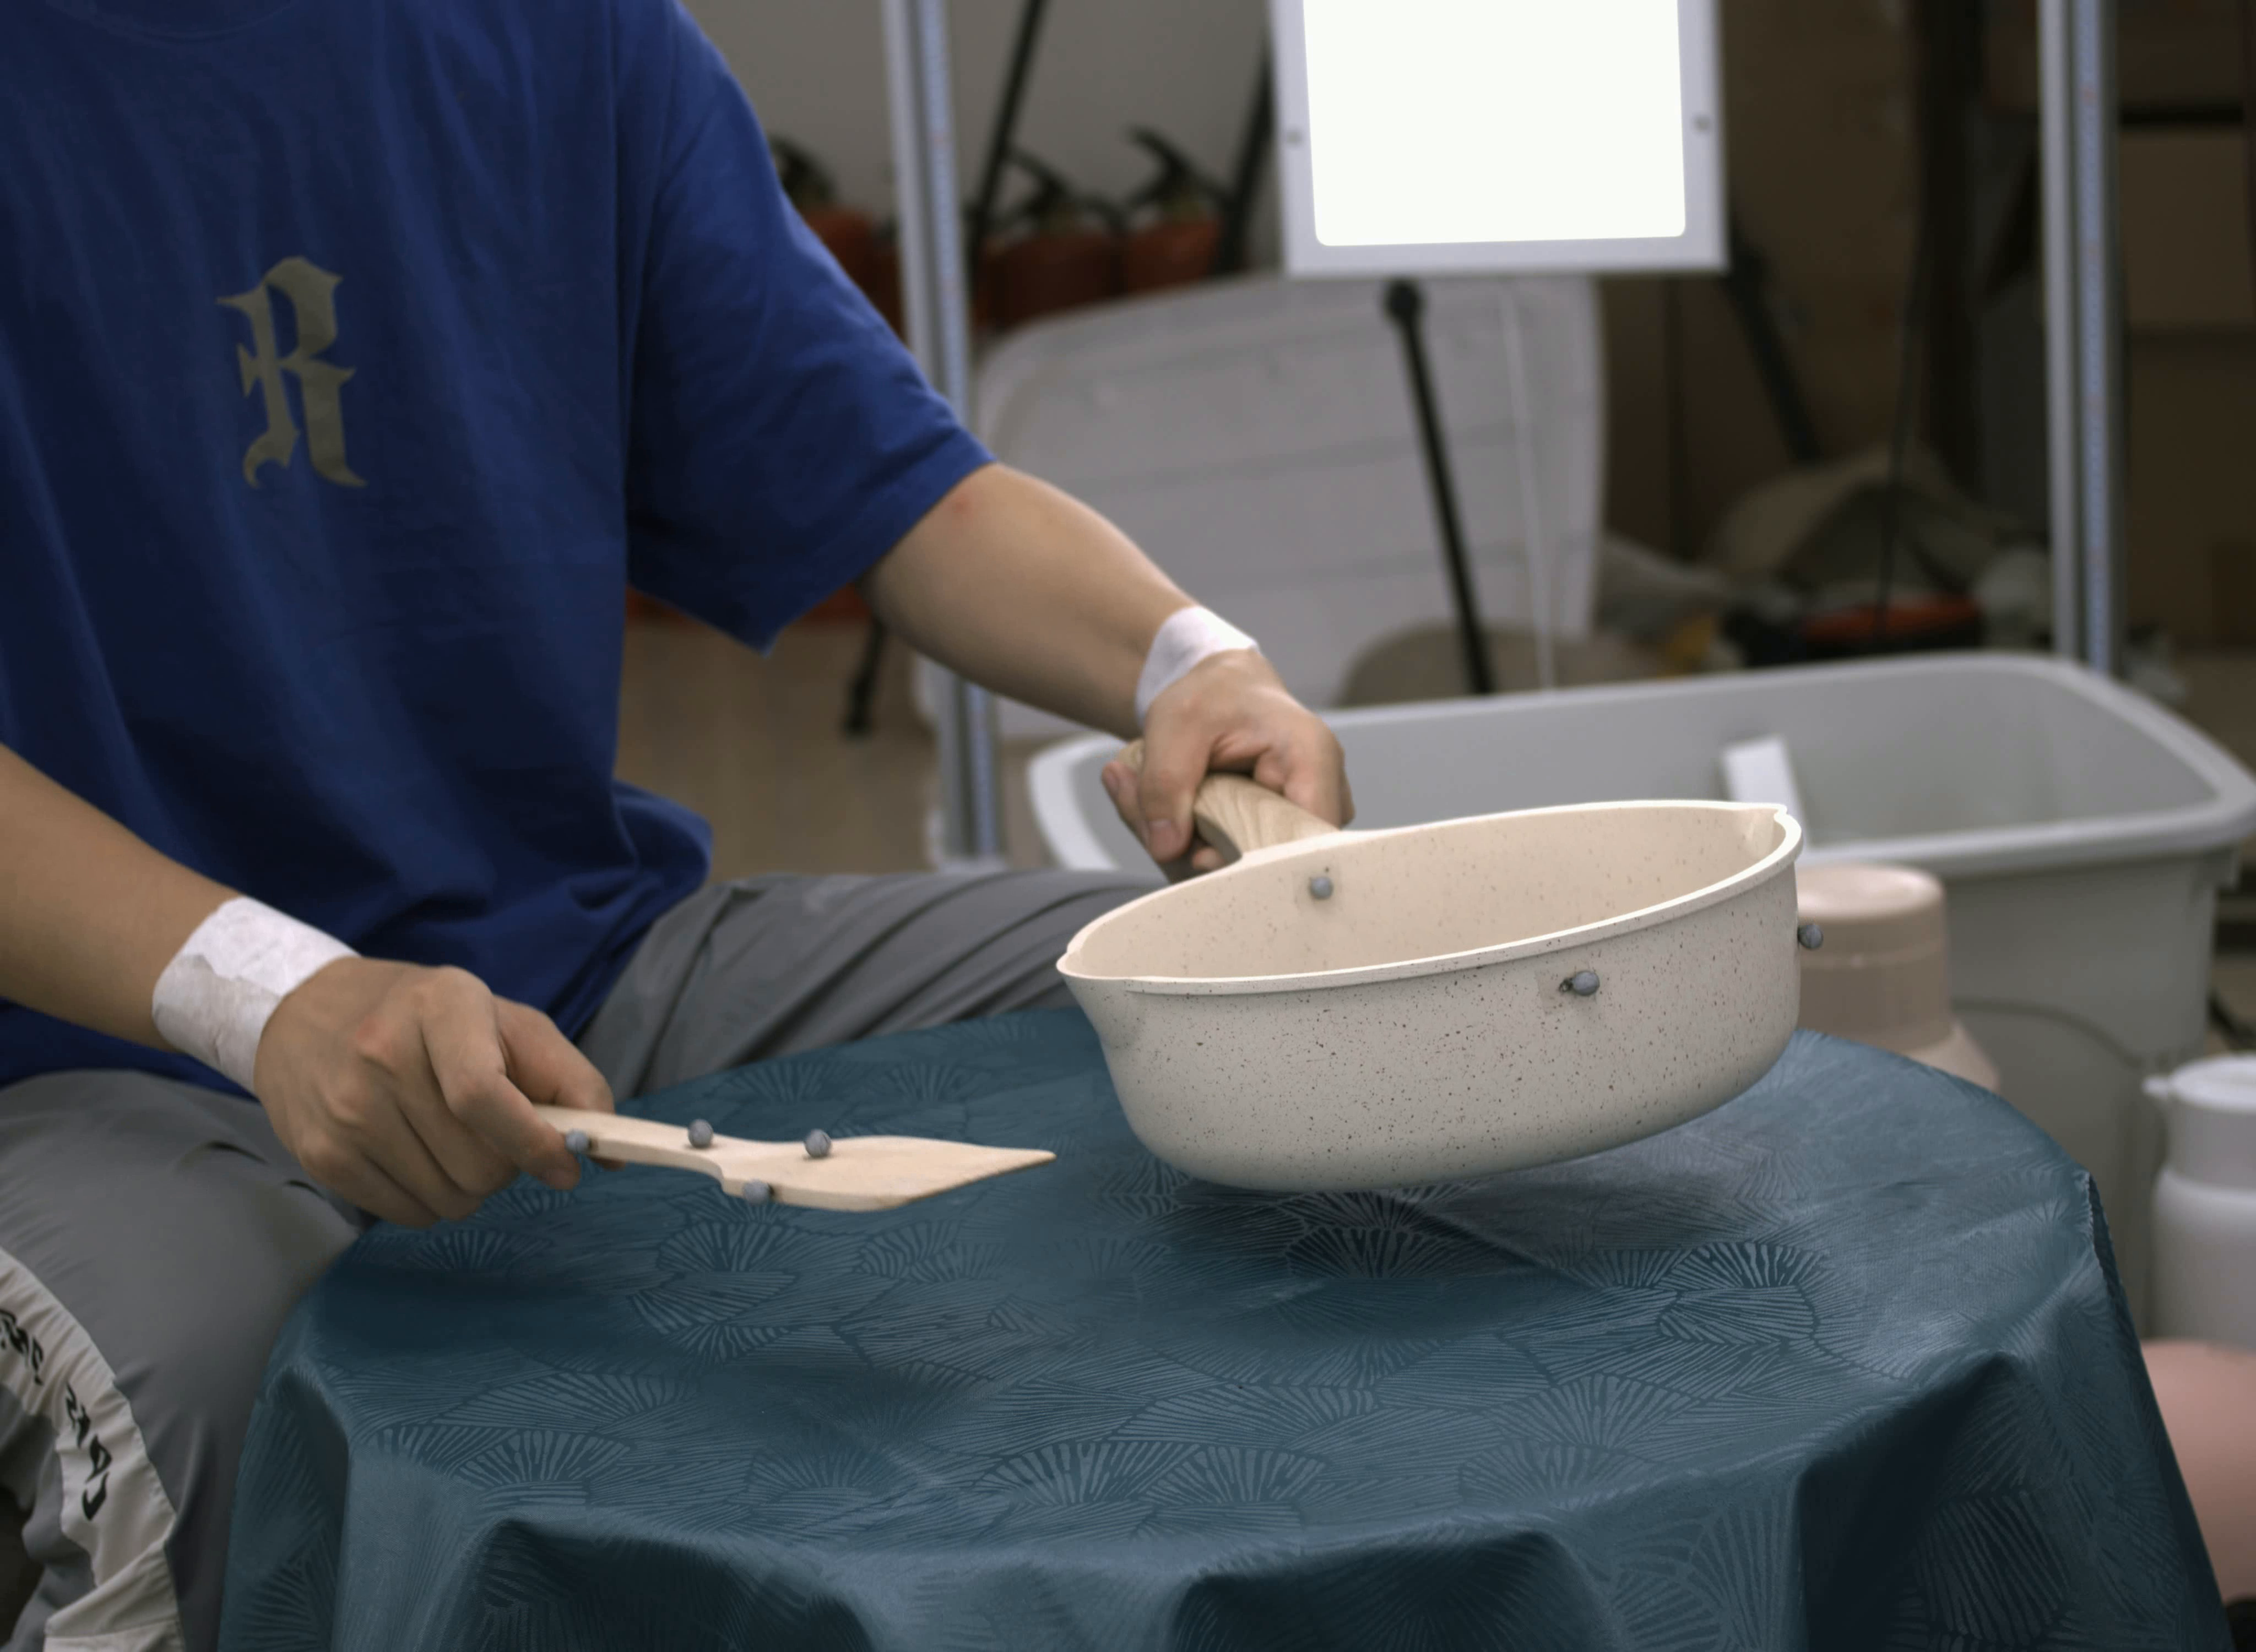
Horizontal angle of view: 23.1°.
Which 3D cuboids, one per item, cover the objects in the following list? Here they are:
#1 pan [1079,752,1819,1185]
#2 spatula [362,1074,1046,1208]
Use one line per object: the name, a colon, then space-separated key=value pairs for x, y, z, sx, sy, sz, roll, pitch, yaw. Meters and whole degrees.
pan: x=0.084 y=0.040 z=1.941 sx=0.259 sy=0.102 sz=0.440 roll=-15 pitch=10 yaw=-16
spatula: x=-0.152 y=0.101 z=1.791 sx=0.299 sy=0.011 sz=0.070 roll=5 pitch=14 yaw=45
